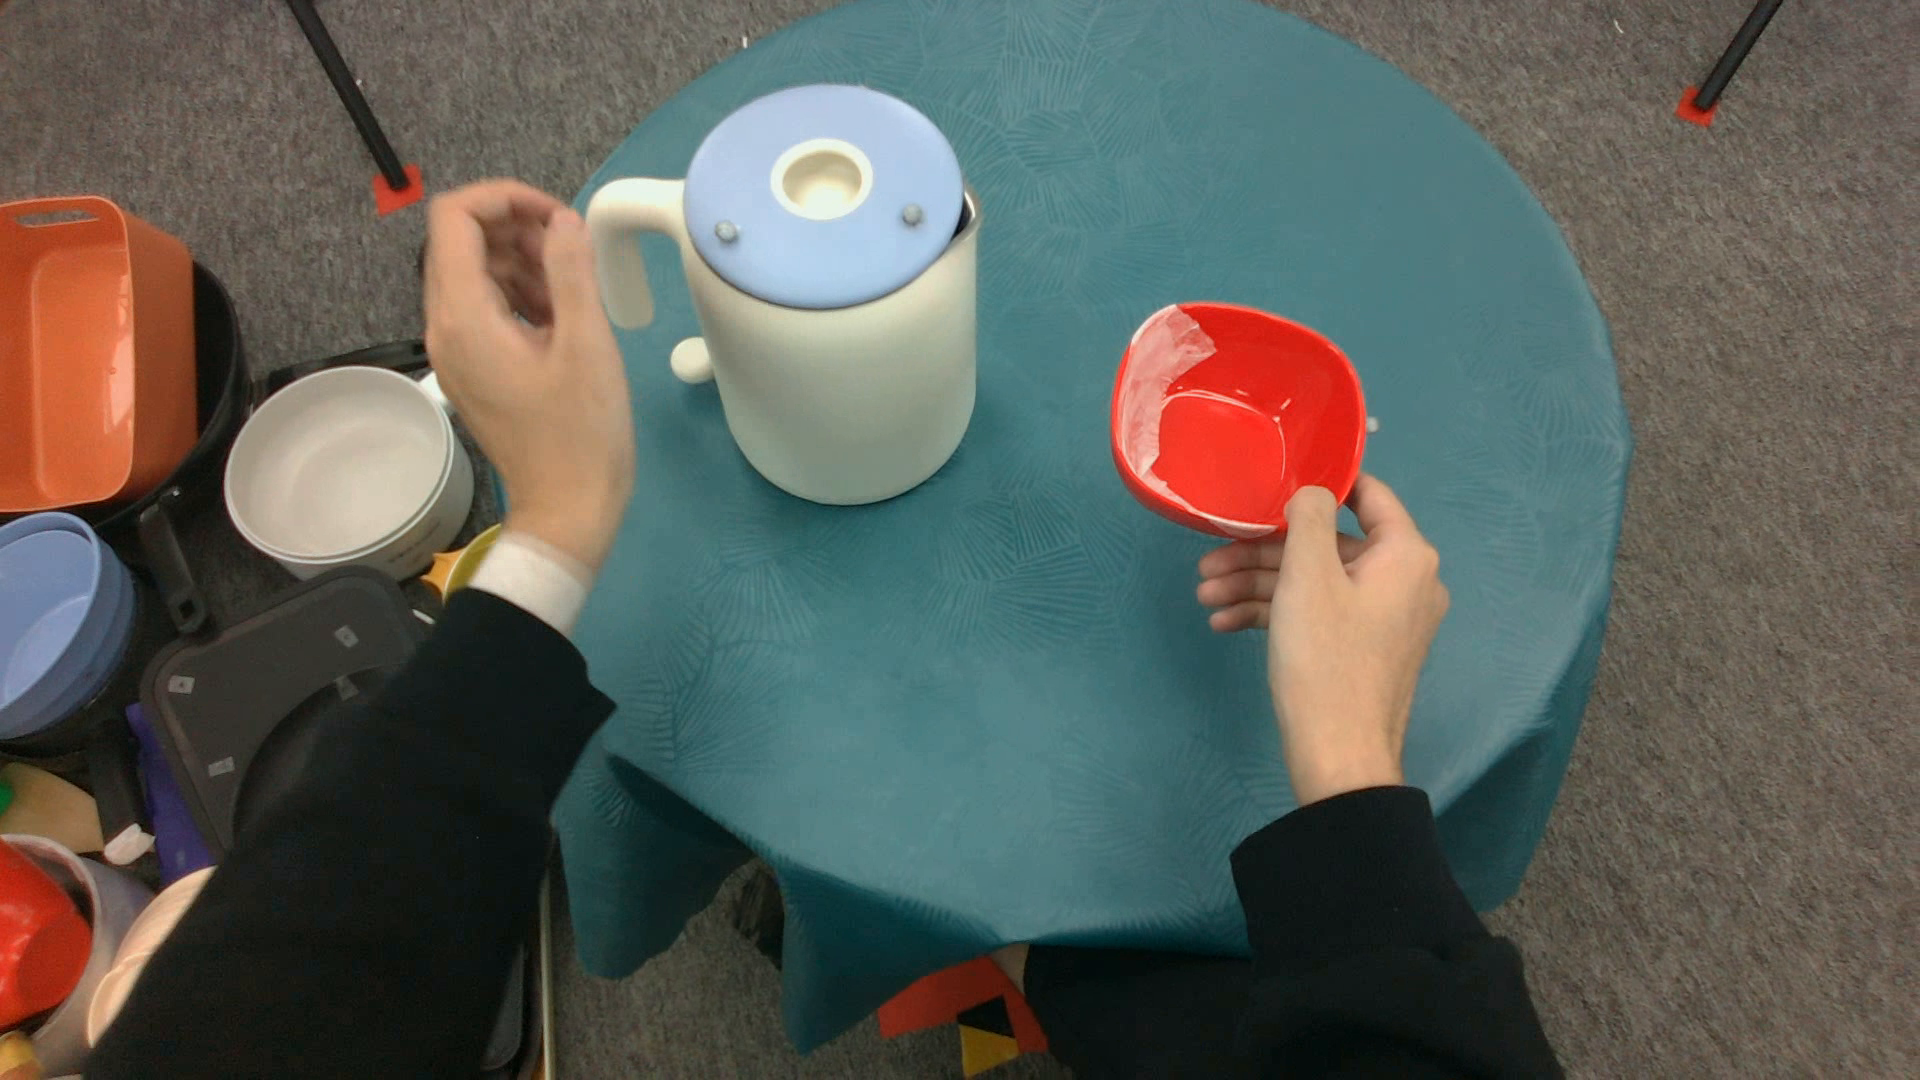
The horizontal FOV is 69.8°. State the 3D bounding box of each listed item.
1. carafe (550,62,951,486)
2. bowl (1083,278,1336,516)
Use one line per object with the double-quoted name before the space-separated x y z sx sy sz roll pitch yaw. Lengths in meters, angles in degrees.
"carafe" -0.096 -0.123 0.655 0.191 0.182 0.133 6 63 4
"bowl" 0.105 -0.055 0.611 0.119 0.051 0.119 4 63 -8
